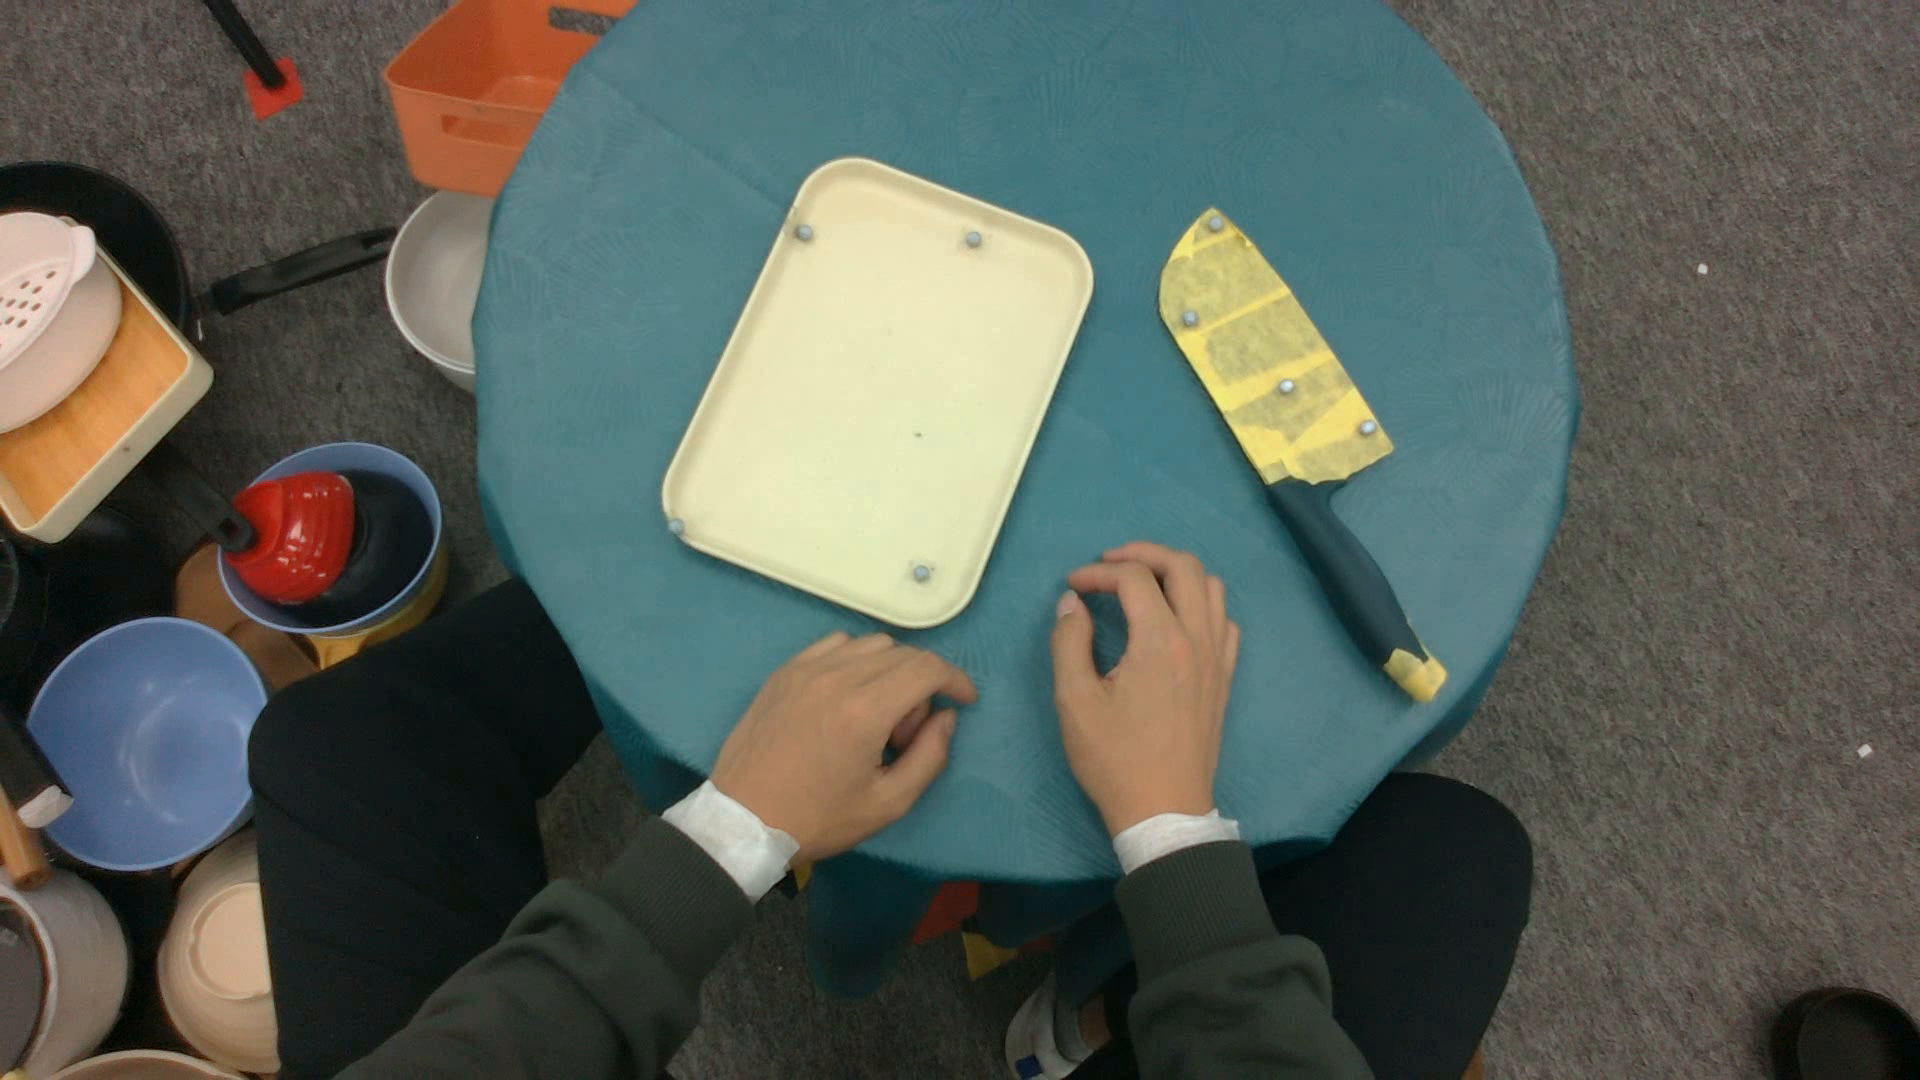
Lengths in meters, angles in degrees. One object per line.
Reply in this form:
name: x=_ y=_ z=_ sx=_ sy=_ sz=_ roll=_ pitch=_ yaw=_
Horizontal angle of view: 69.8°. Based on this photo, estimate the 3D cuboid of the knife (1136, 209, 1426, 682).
knife: x=0.178 y=-0.060 z=0.738 sx=0.081 sy=0.027 sz=0.290 roll=-24 pitch=76 yaw=-8

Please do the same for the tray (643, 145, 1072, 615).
tray: x=-0.050 y=-0.088 z=0.729 sx=0.171 sy=0.017 sz=0.240 roll=21 pitch=74 yaw=2
